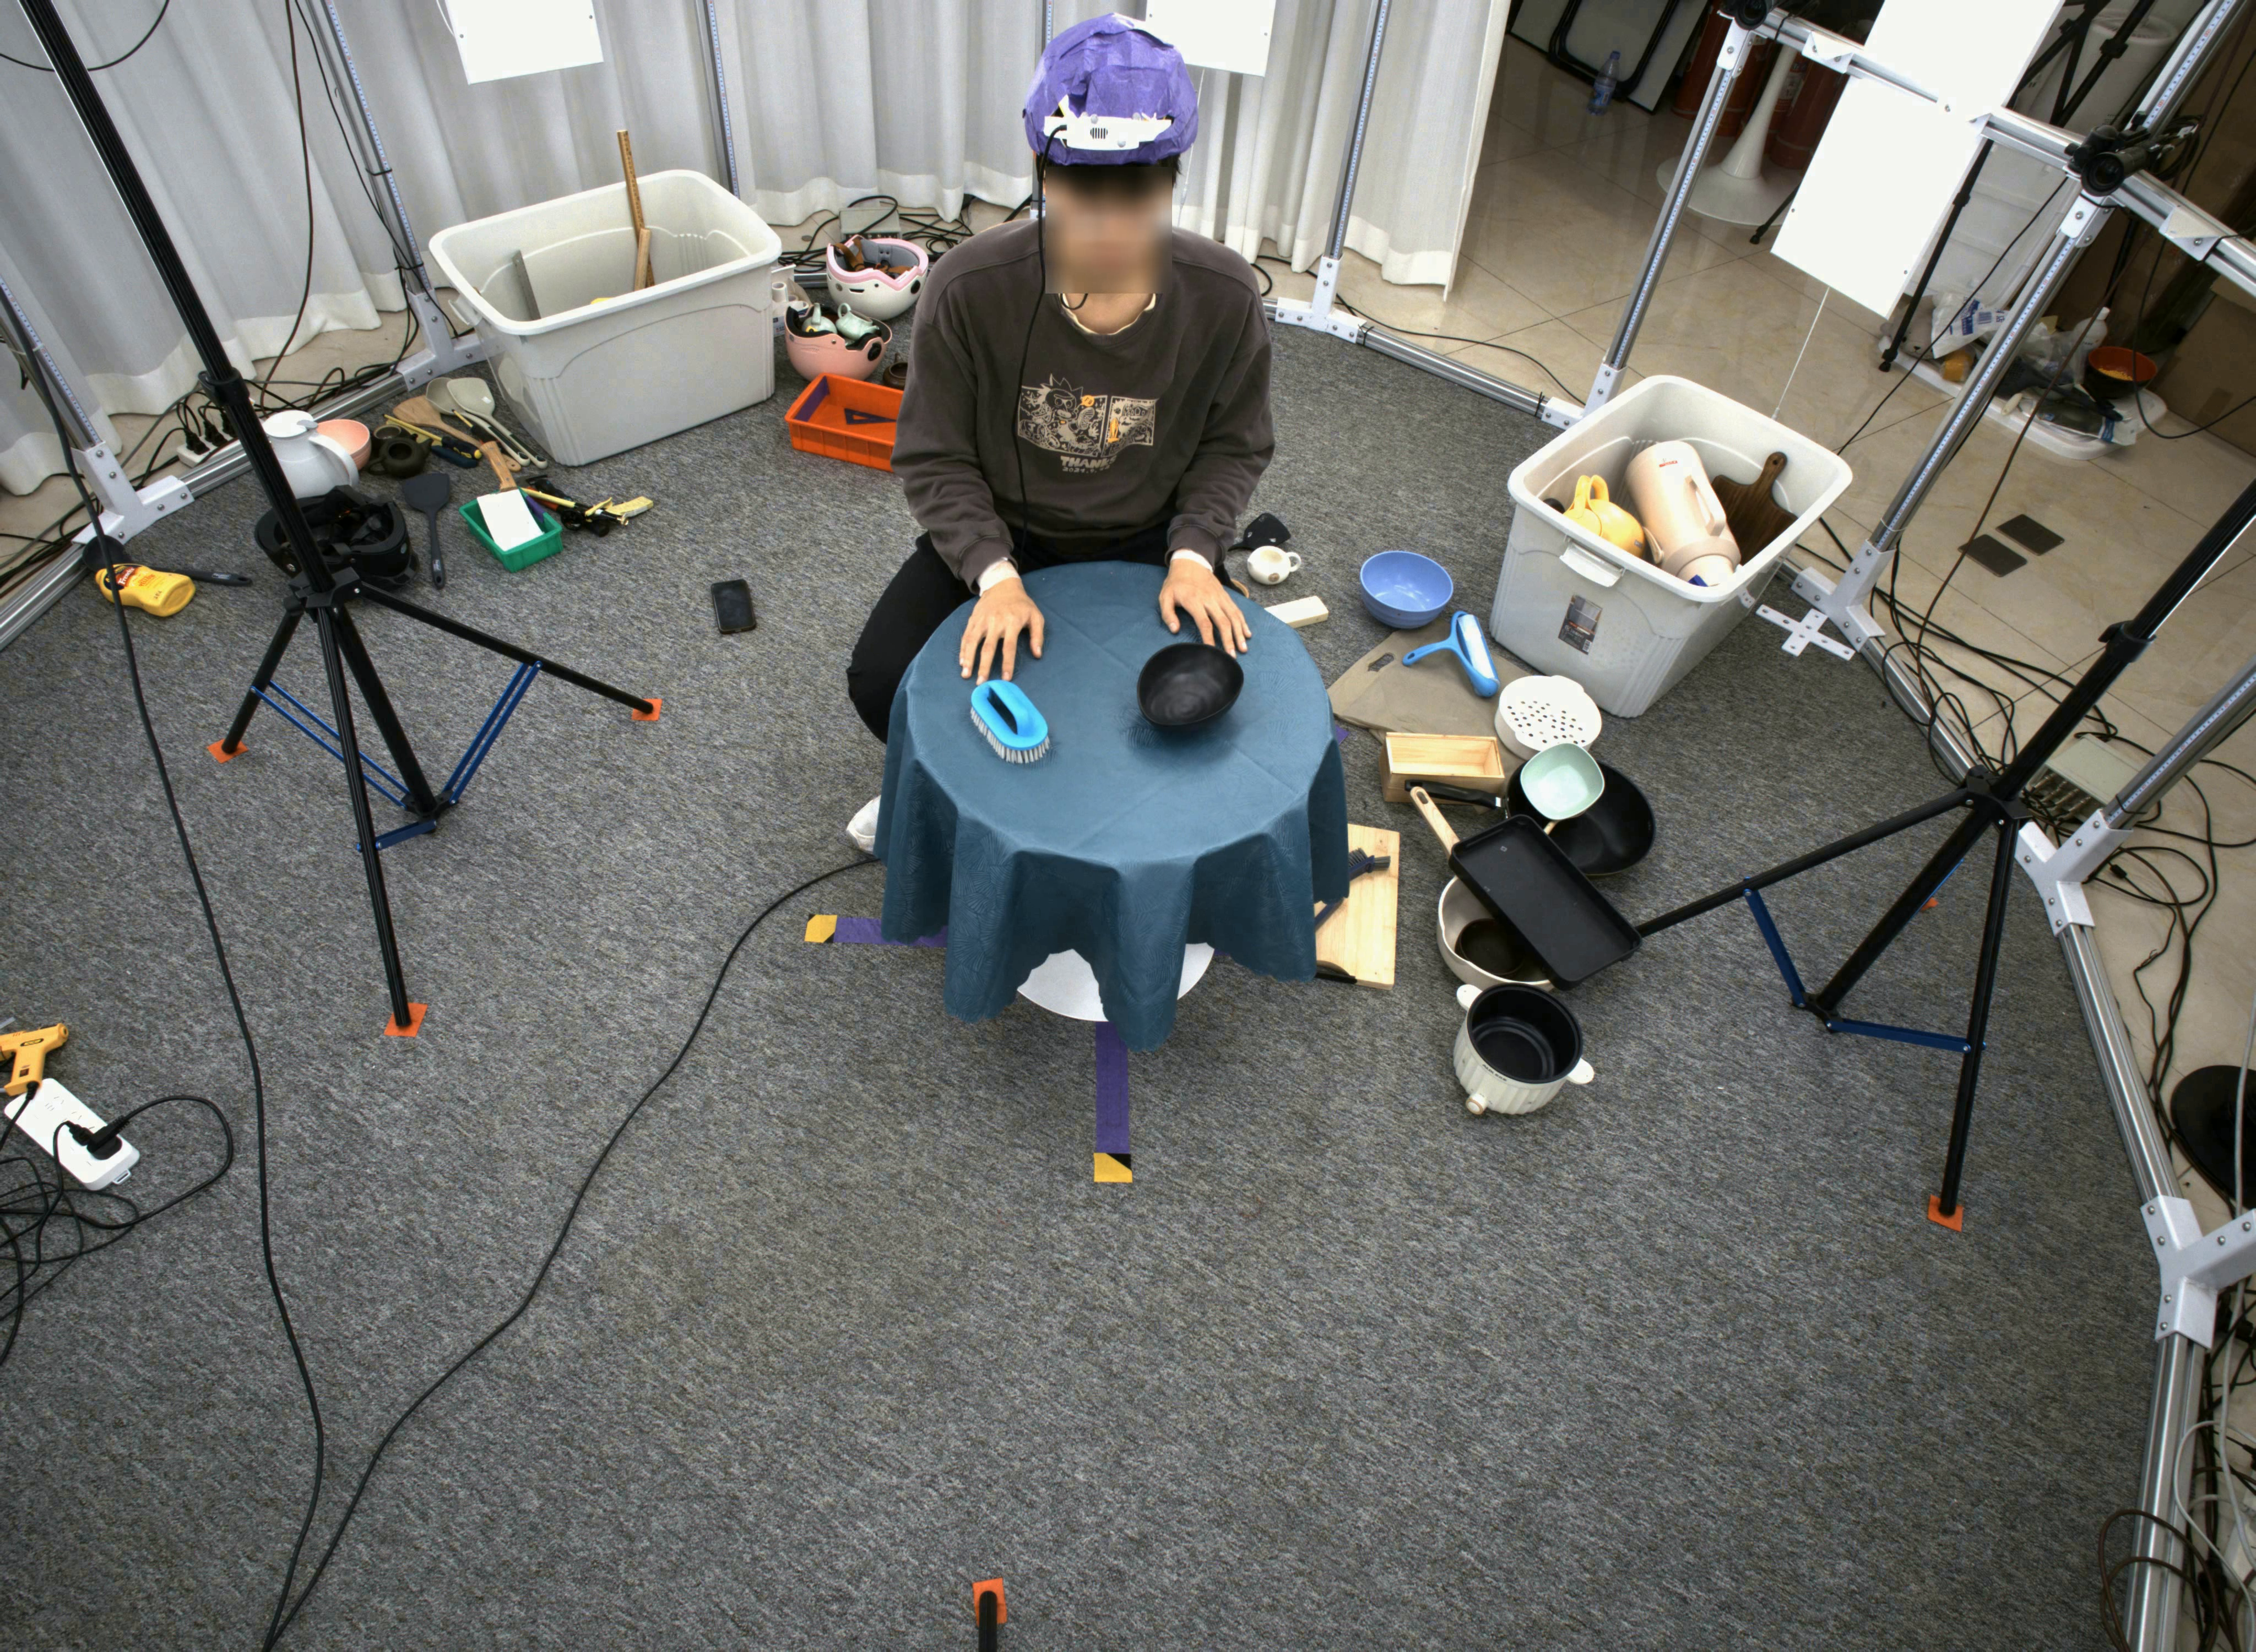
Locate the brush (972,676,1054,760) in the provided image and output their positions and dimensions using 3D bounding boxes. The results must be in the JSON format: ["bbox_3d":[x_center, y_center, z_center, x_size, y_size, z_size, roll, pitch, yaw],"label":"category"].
[{"bbox_3d":[-0.159,-0.157,1.750,0.084,0.062,0.145,-25,54,-17],"label":"brush"}]

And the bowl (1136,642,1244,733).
[{"bbox_3d":[0.085,-0.181,1.788,0.139,0.065,0.172,30,55,21],"label":"bowl"}]
